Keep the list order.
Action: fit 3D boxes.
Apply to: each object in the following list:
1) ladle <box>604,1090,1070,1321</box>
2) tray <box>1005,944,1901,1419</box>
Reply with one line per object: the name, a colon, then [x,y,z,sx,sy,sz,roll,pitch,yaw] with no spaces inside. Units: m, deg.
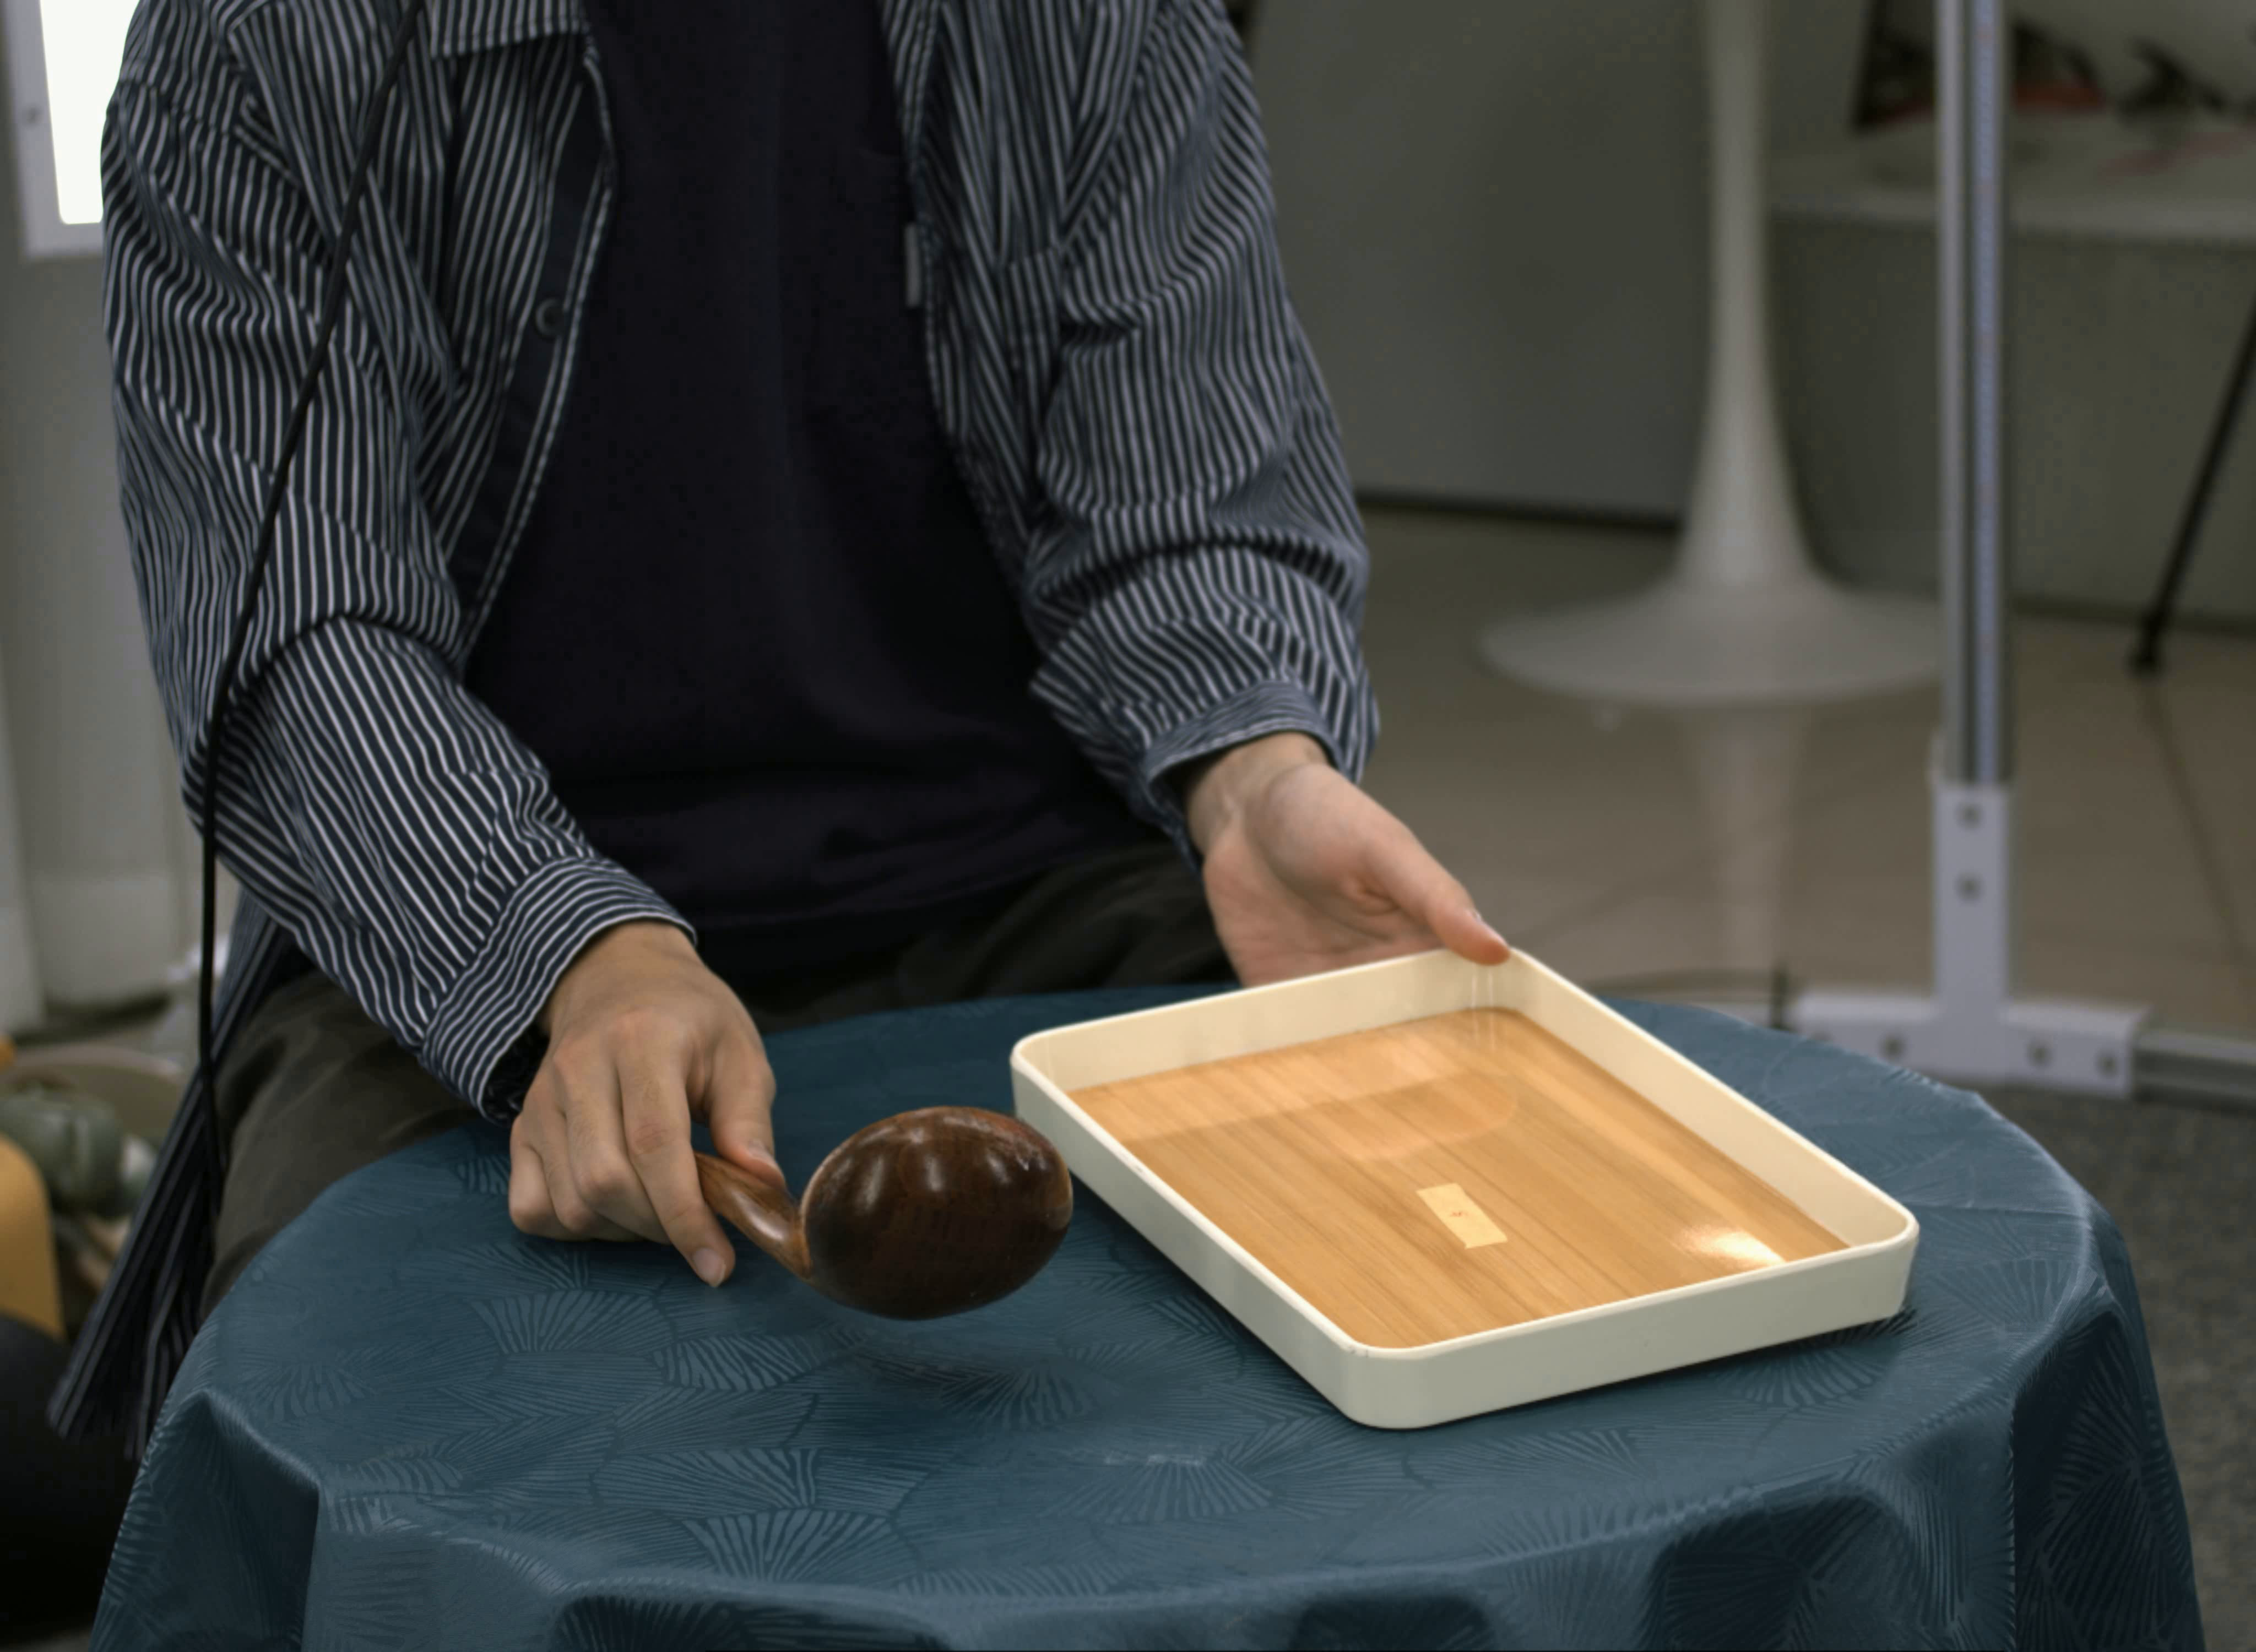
ladle: [-0.101,0.098,1.679,0.080,0.077,0.277,24,-2,-25]
tray: [0.095,0.106,1.697,0.188,0.027,0.303,-11,19,-18]
